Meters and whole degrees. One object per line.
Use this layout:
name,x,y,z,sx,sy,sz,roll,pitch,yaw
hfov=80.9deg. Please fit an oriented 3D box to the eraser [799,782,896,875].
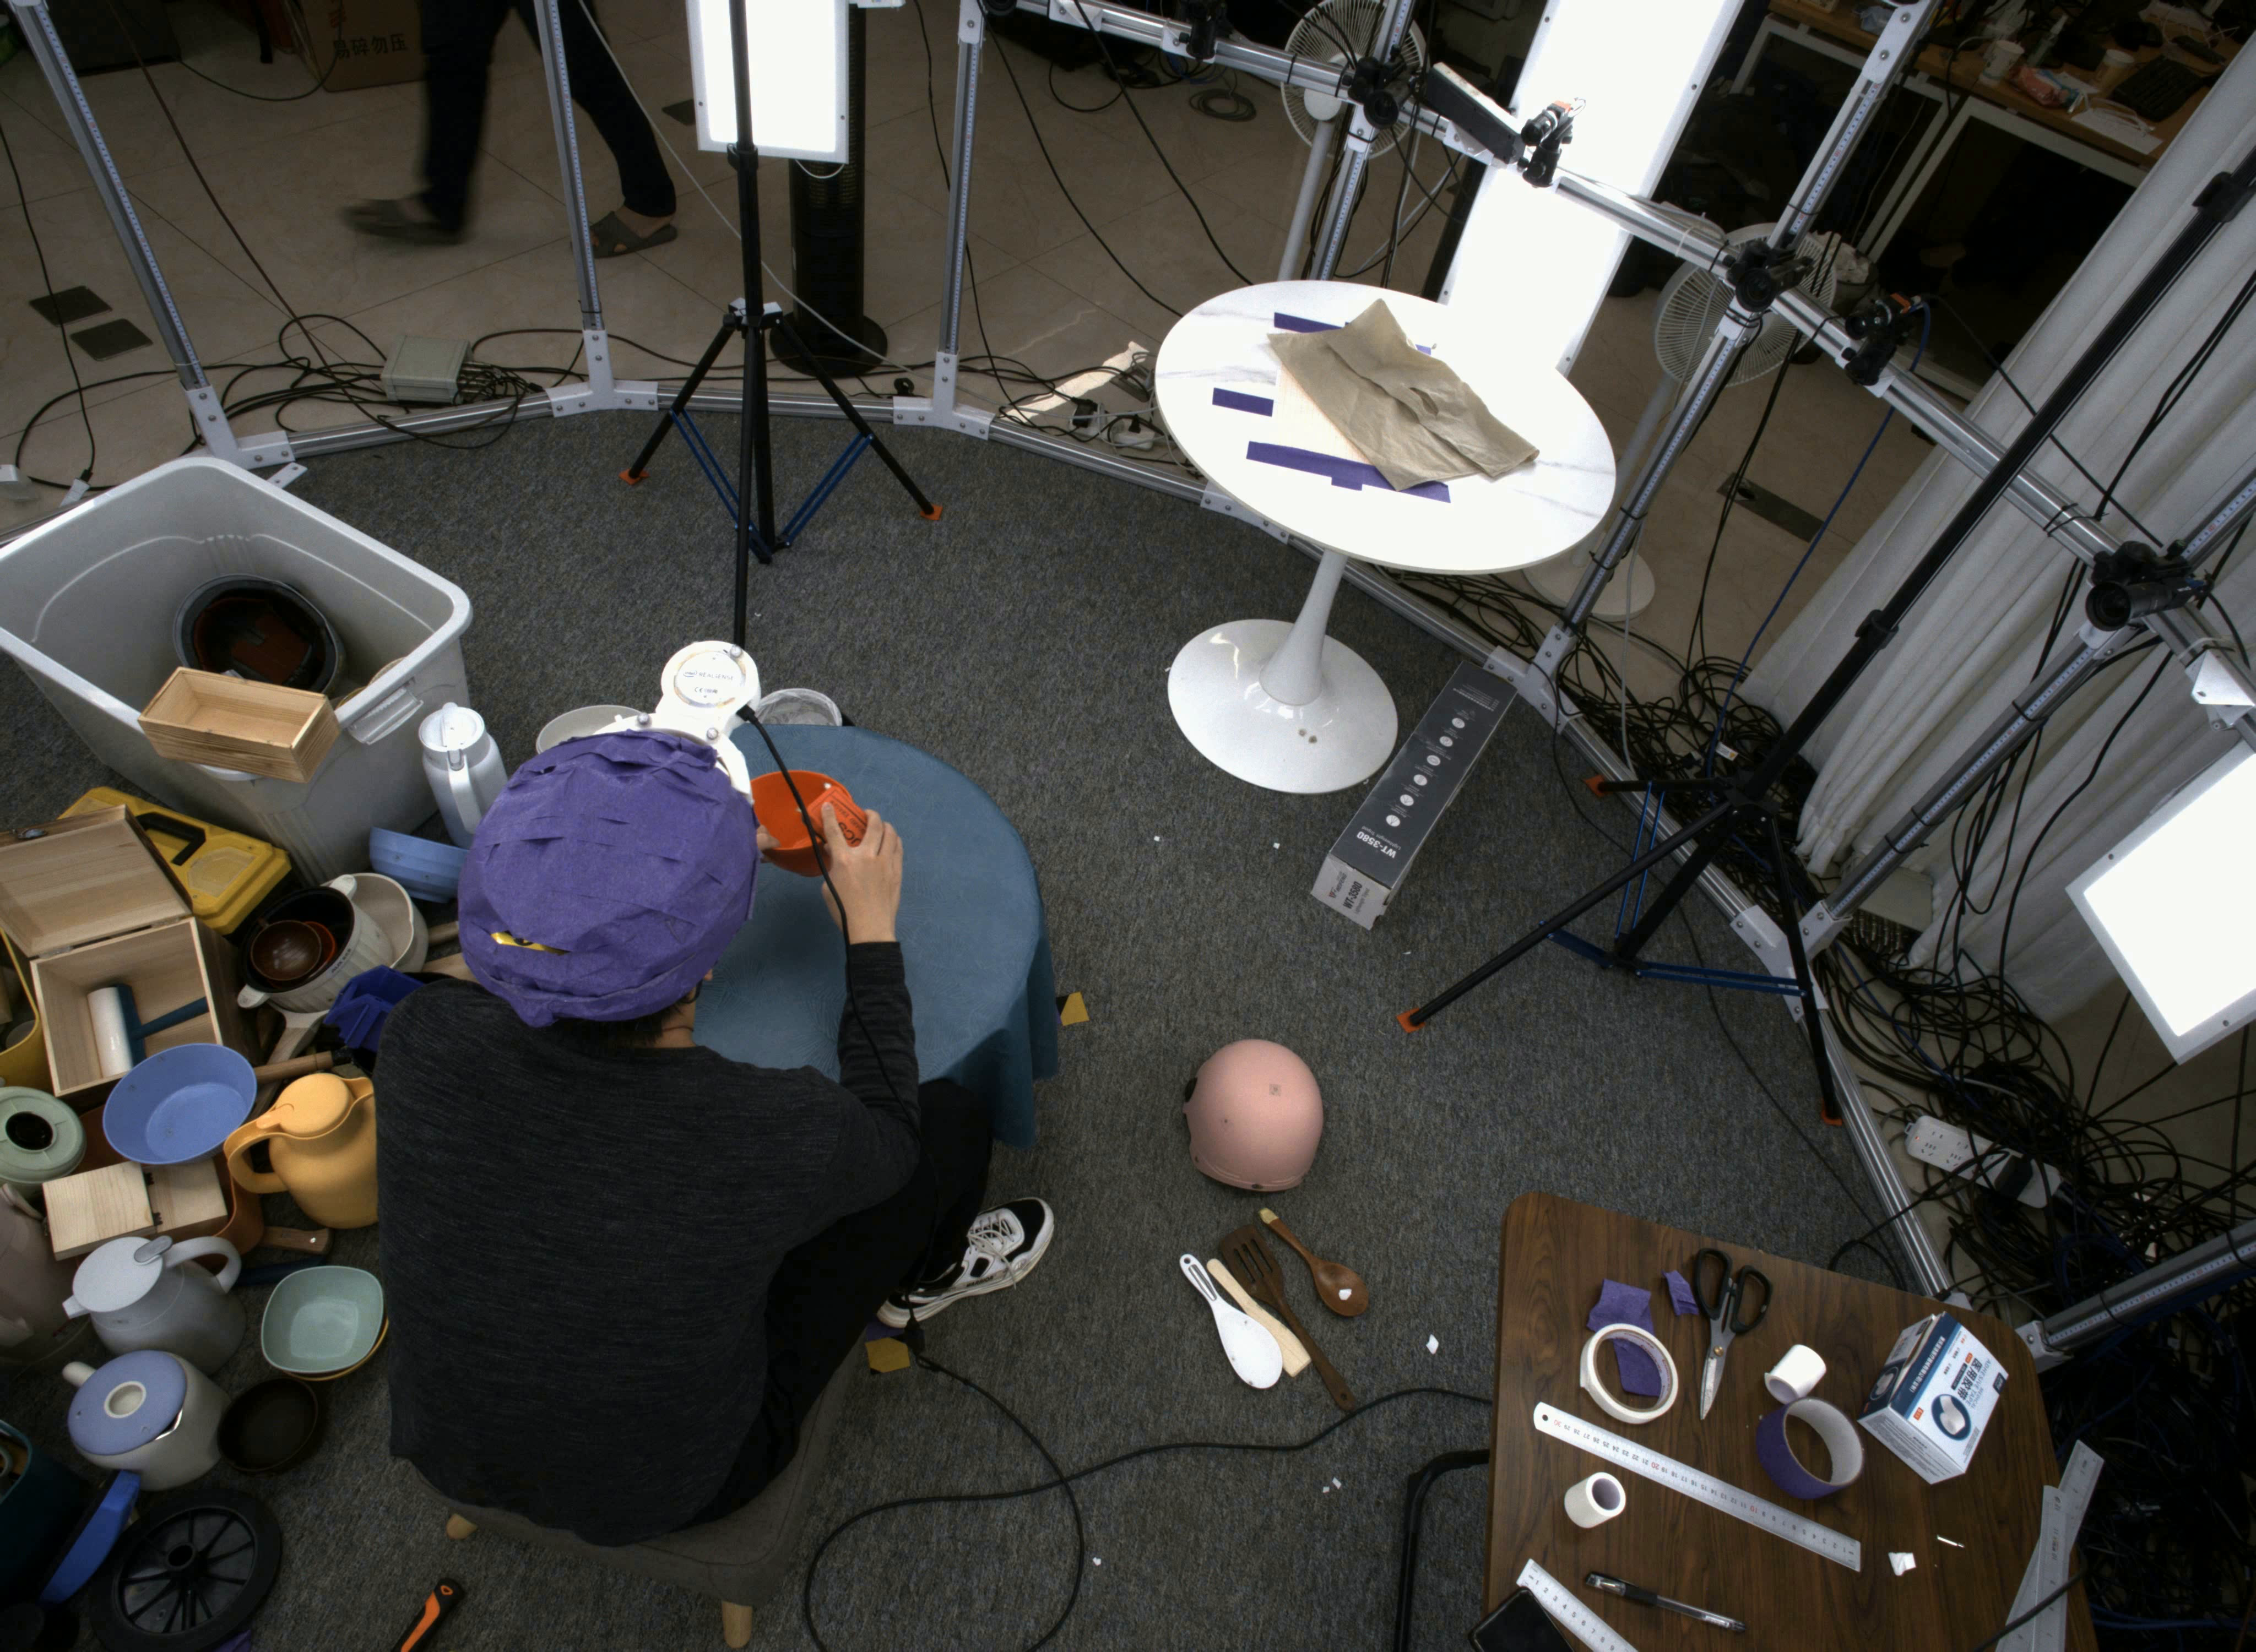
eraser,-0.327,0.001,1.514,0.109,0.023,0.059,44,46,-8

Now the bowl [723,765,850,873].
bowl,-0.404,0.001,1.574,0.146,0.108,0.145,-2,46,4
